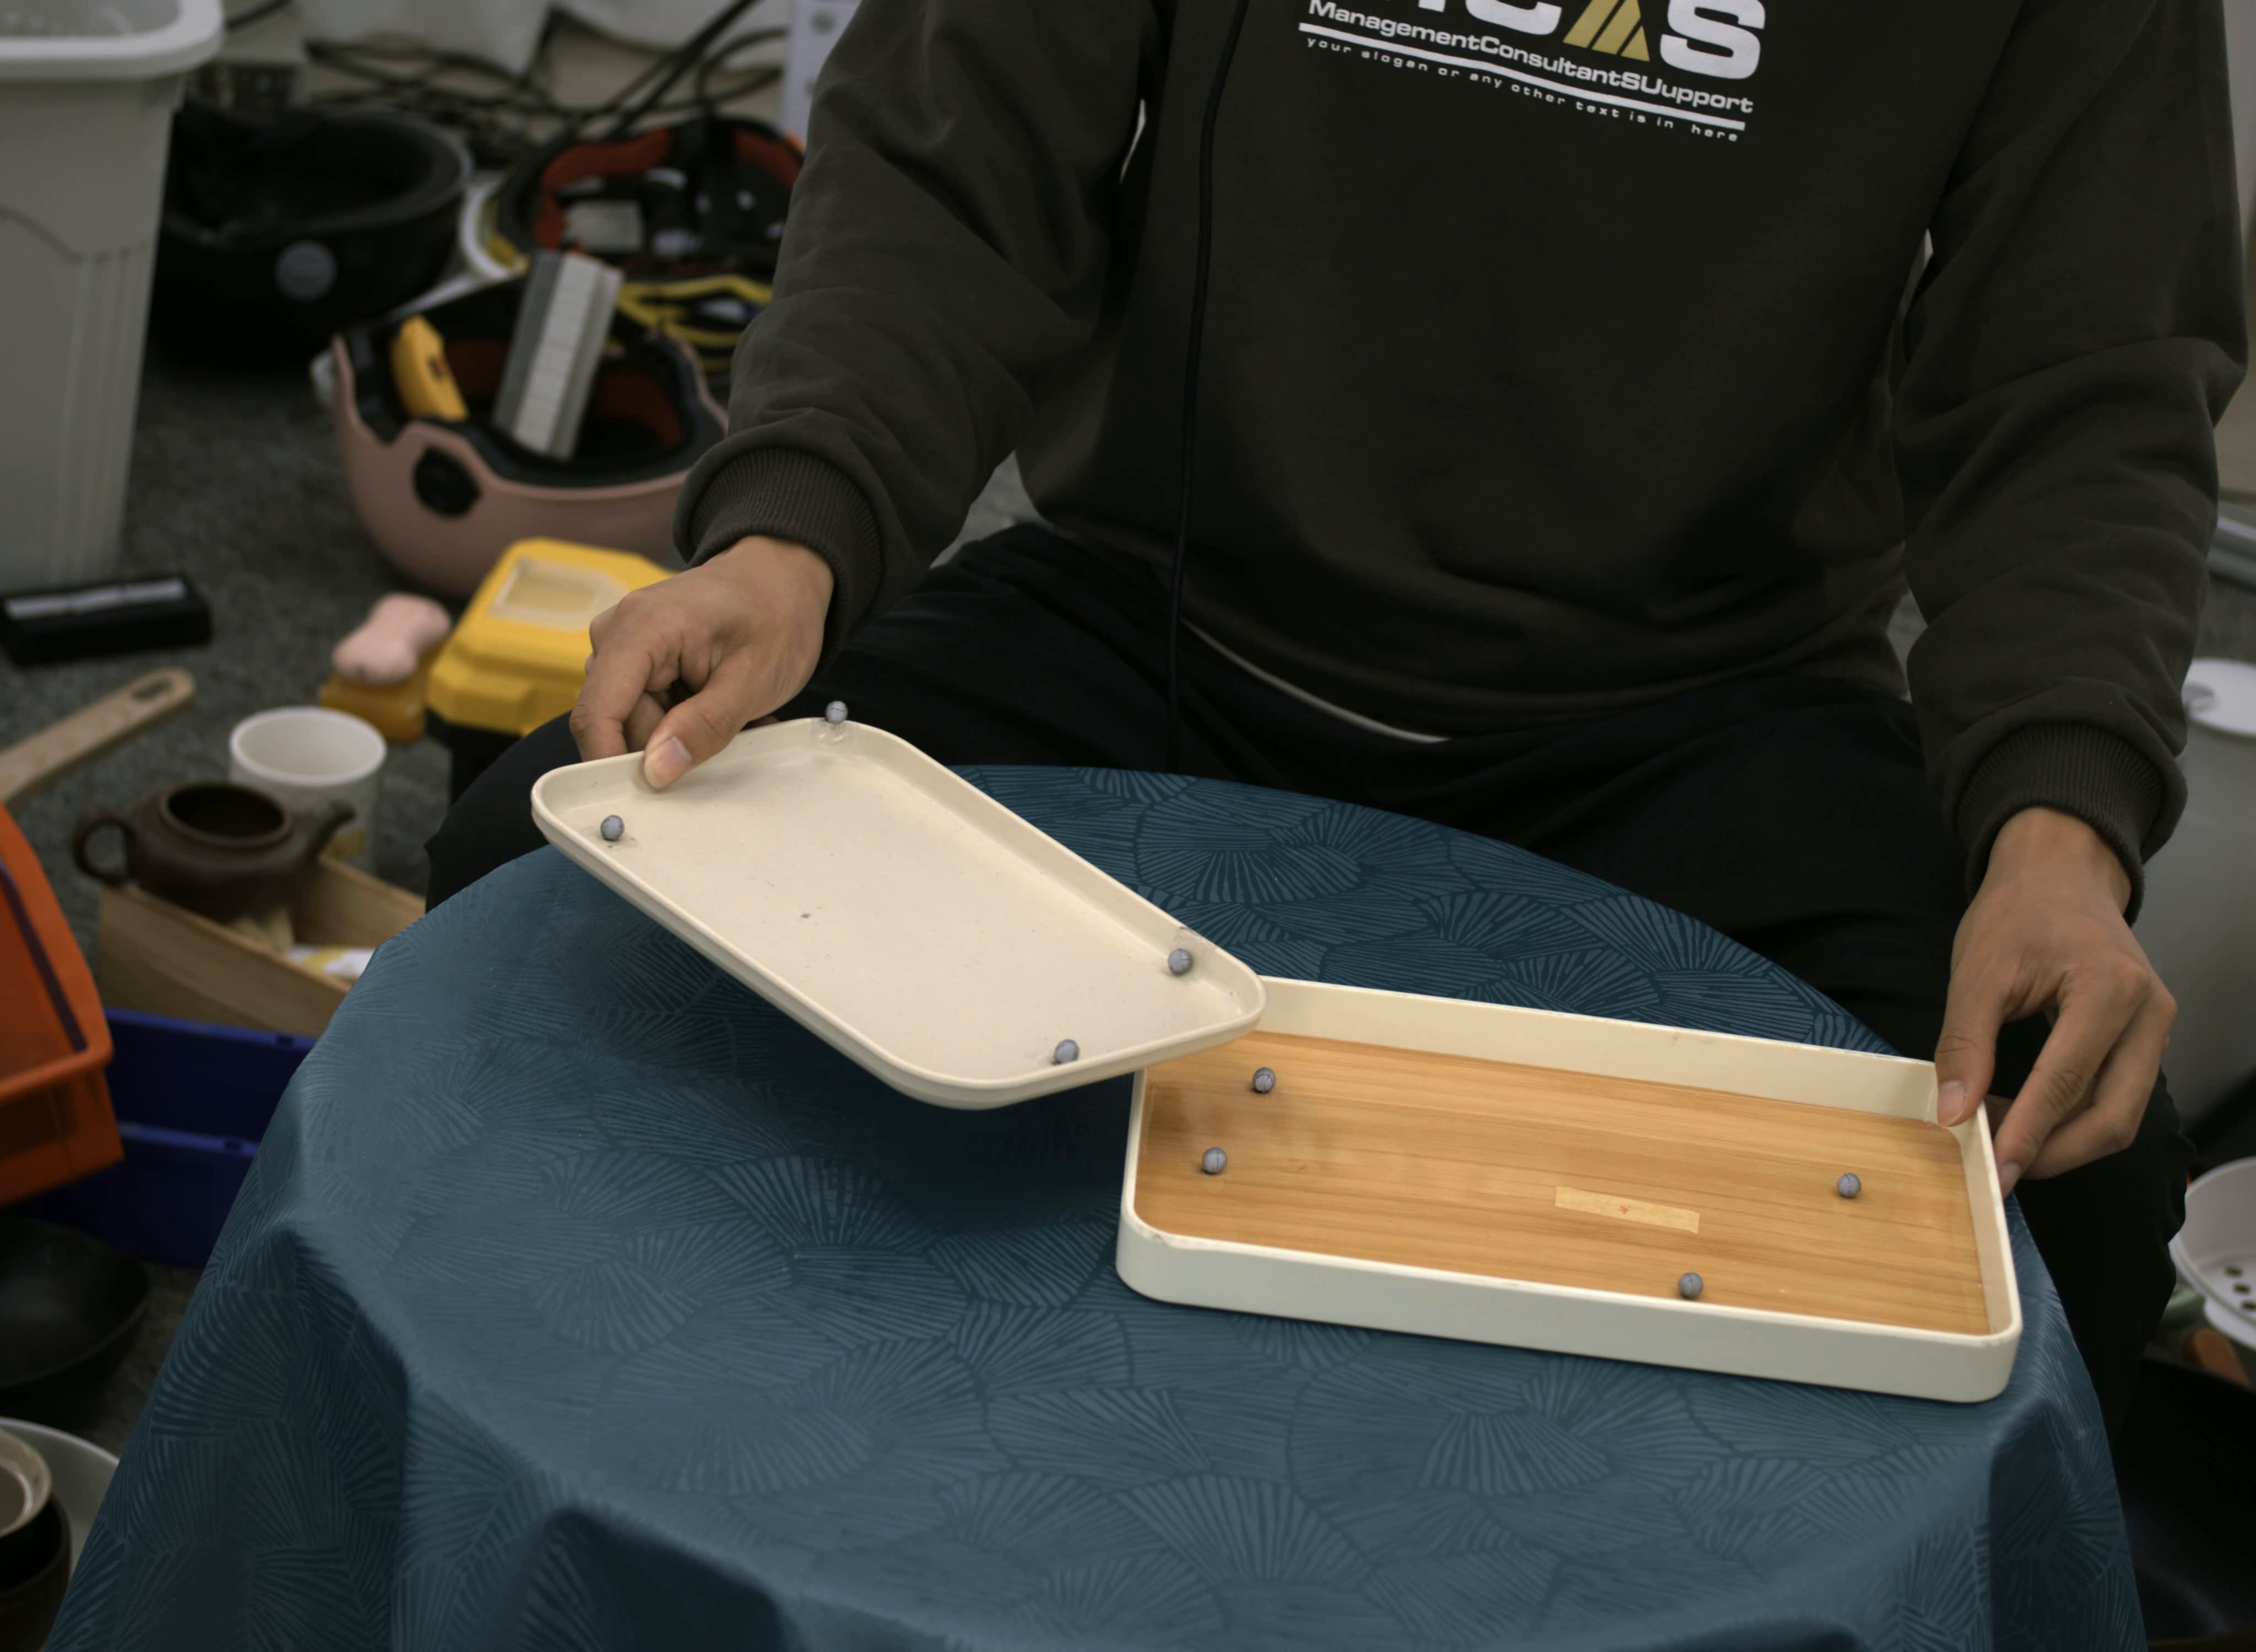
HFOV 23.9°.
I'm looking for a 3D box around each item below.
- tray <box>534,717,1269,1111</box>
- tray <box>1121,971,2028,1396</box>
[{"bbox_3d":[-0.080,0.029,1.842,0.170,0.017,0.241,-14,35,-43],"label":"tray"},{"bbox_3d":[0.150,0.120,1.821,0.299,0.027,0.192,7,26,0],"label":"tray"}]
